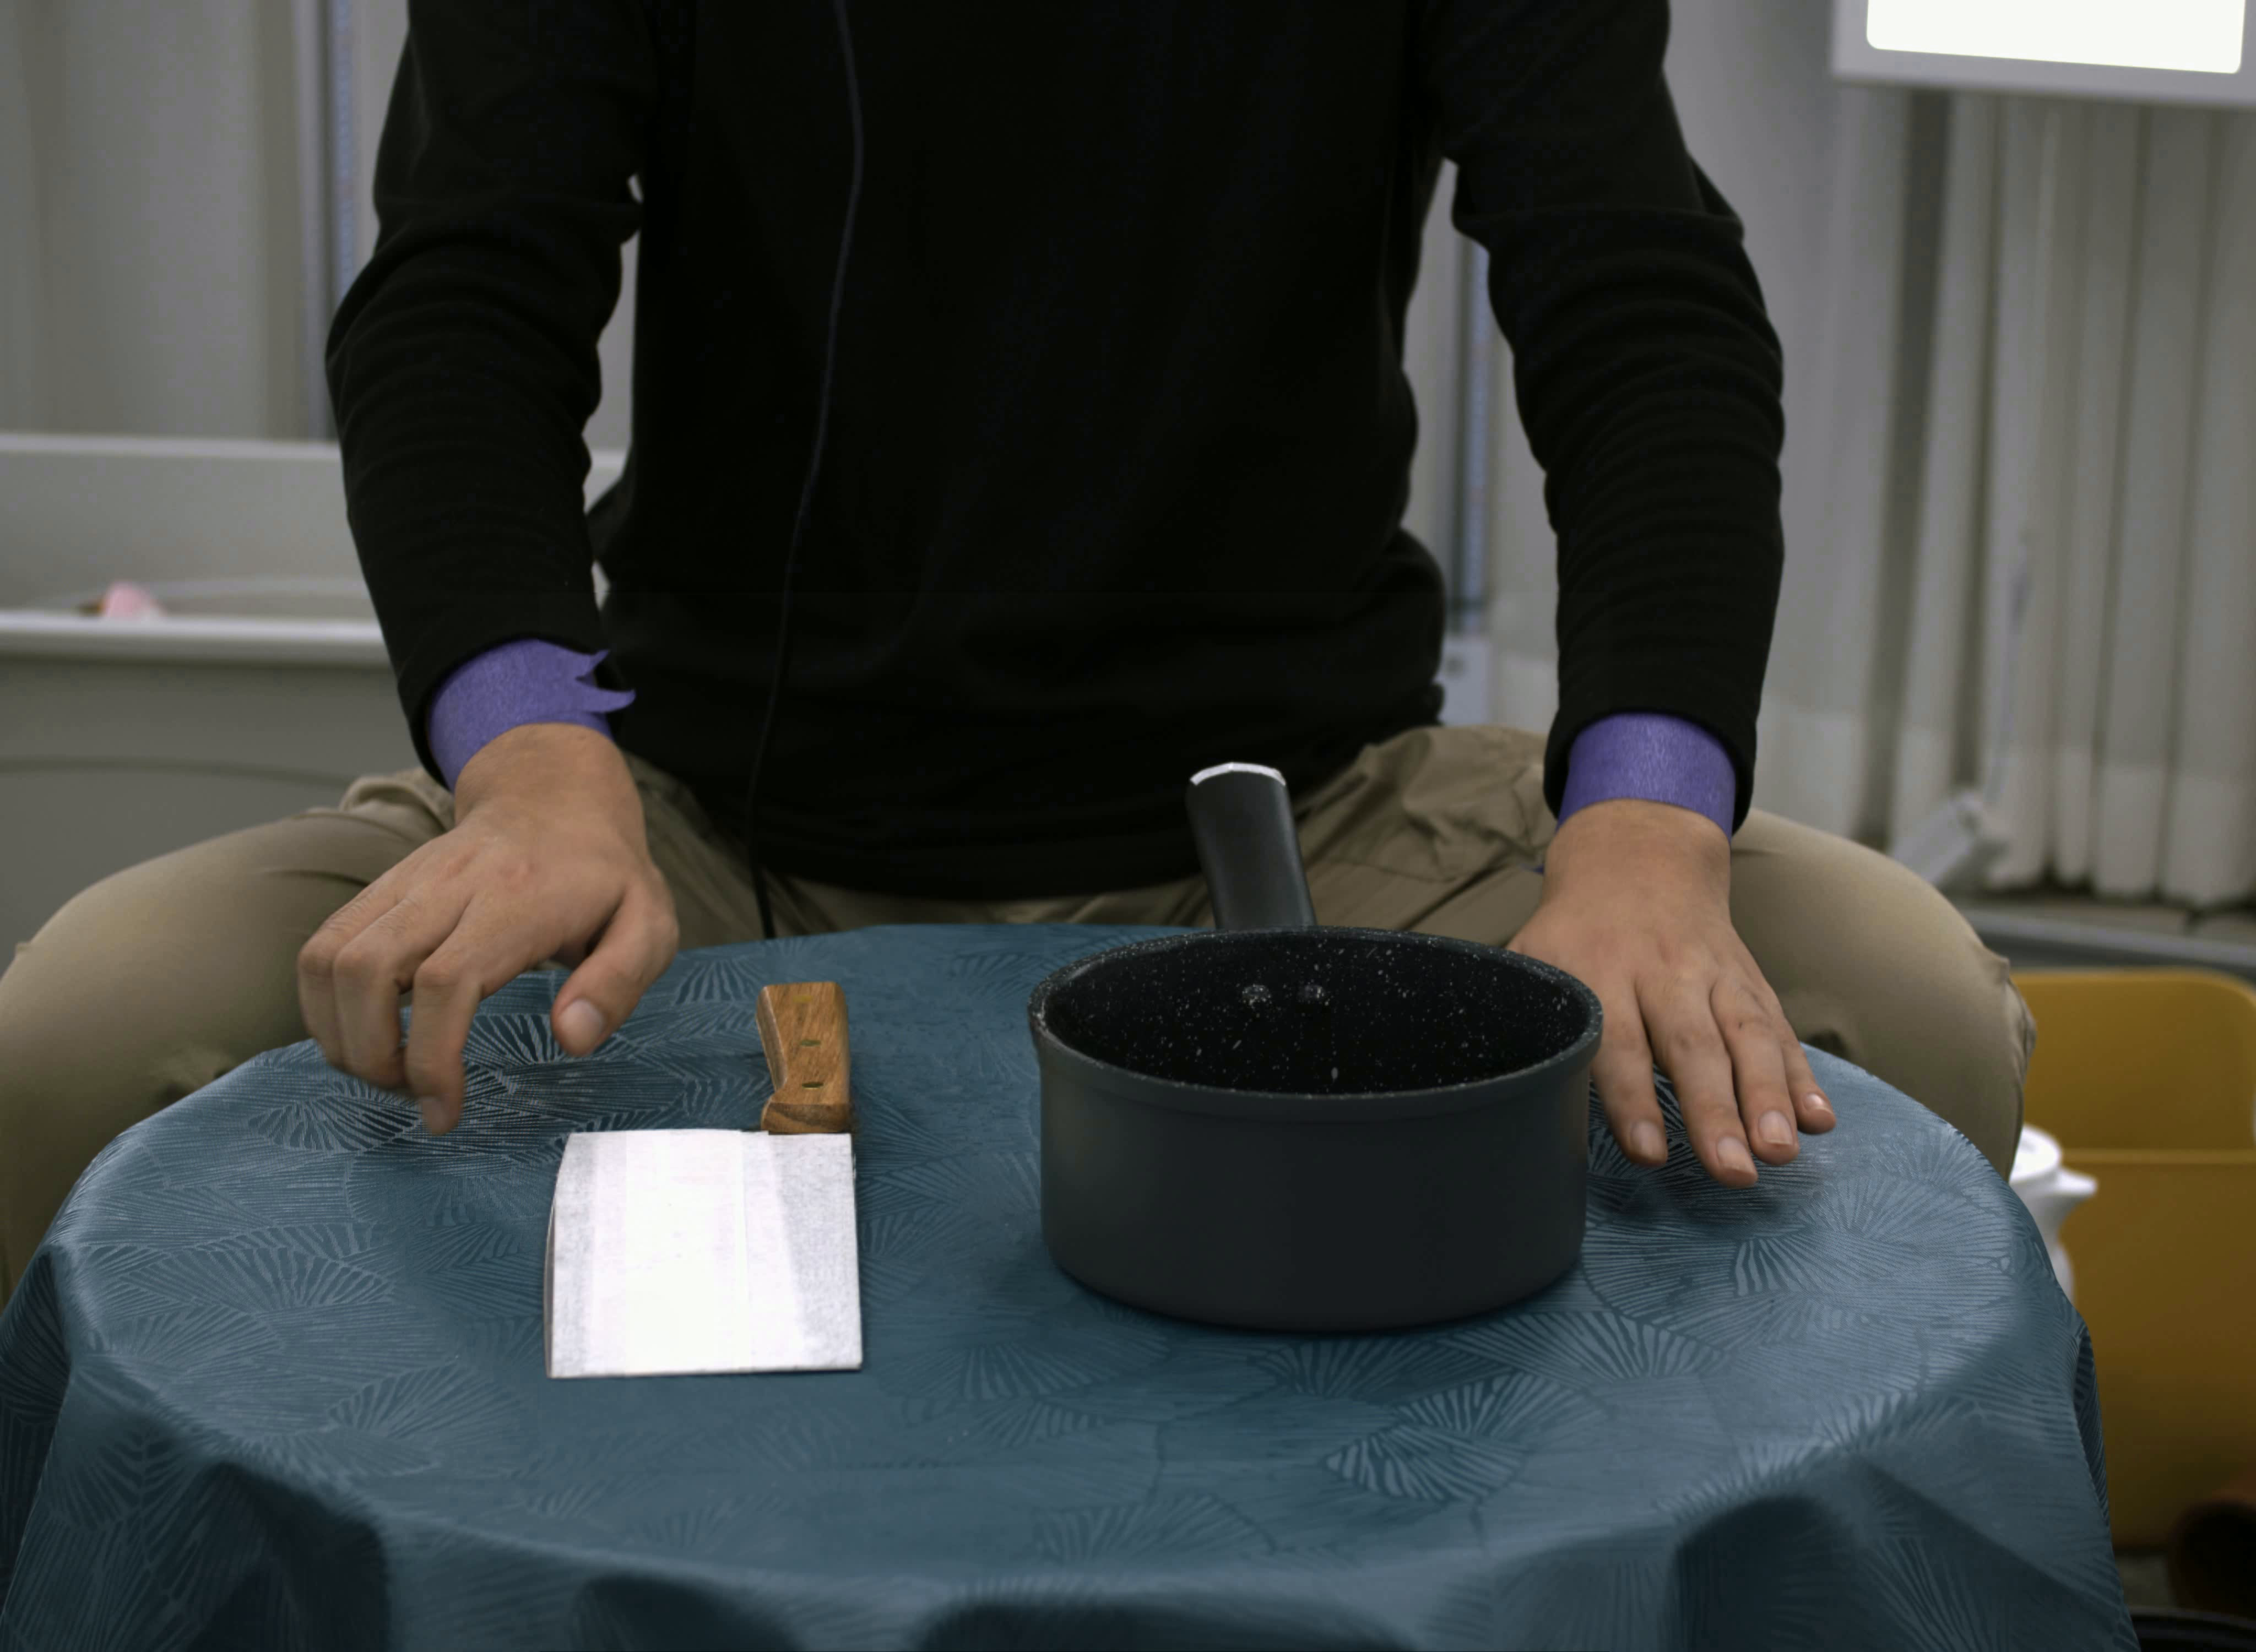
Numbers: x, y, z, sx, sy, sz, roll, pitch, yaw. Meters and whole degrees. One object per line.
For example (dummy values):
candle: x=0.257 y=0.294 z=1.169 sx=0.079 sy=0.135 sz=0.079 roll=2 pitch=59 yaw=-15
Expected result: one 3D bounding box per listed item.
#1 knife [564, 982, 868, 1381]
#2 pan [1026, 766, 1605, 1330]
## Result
knife: x=-0.126 y=0.106 z=1.612 sx=0.093 sy=0.021 sz=0.303 roll=-2 pitch=18 yaw=-3
pan: x=0.052 y=0.065 z=1.641 sx=0.171 sy=0.087 sz=0.326 roll=0 pitch=16 yaw=-2
